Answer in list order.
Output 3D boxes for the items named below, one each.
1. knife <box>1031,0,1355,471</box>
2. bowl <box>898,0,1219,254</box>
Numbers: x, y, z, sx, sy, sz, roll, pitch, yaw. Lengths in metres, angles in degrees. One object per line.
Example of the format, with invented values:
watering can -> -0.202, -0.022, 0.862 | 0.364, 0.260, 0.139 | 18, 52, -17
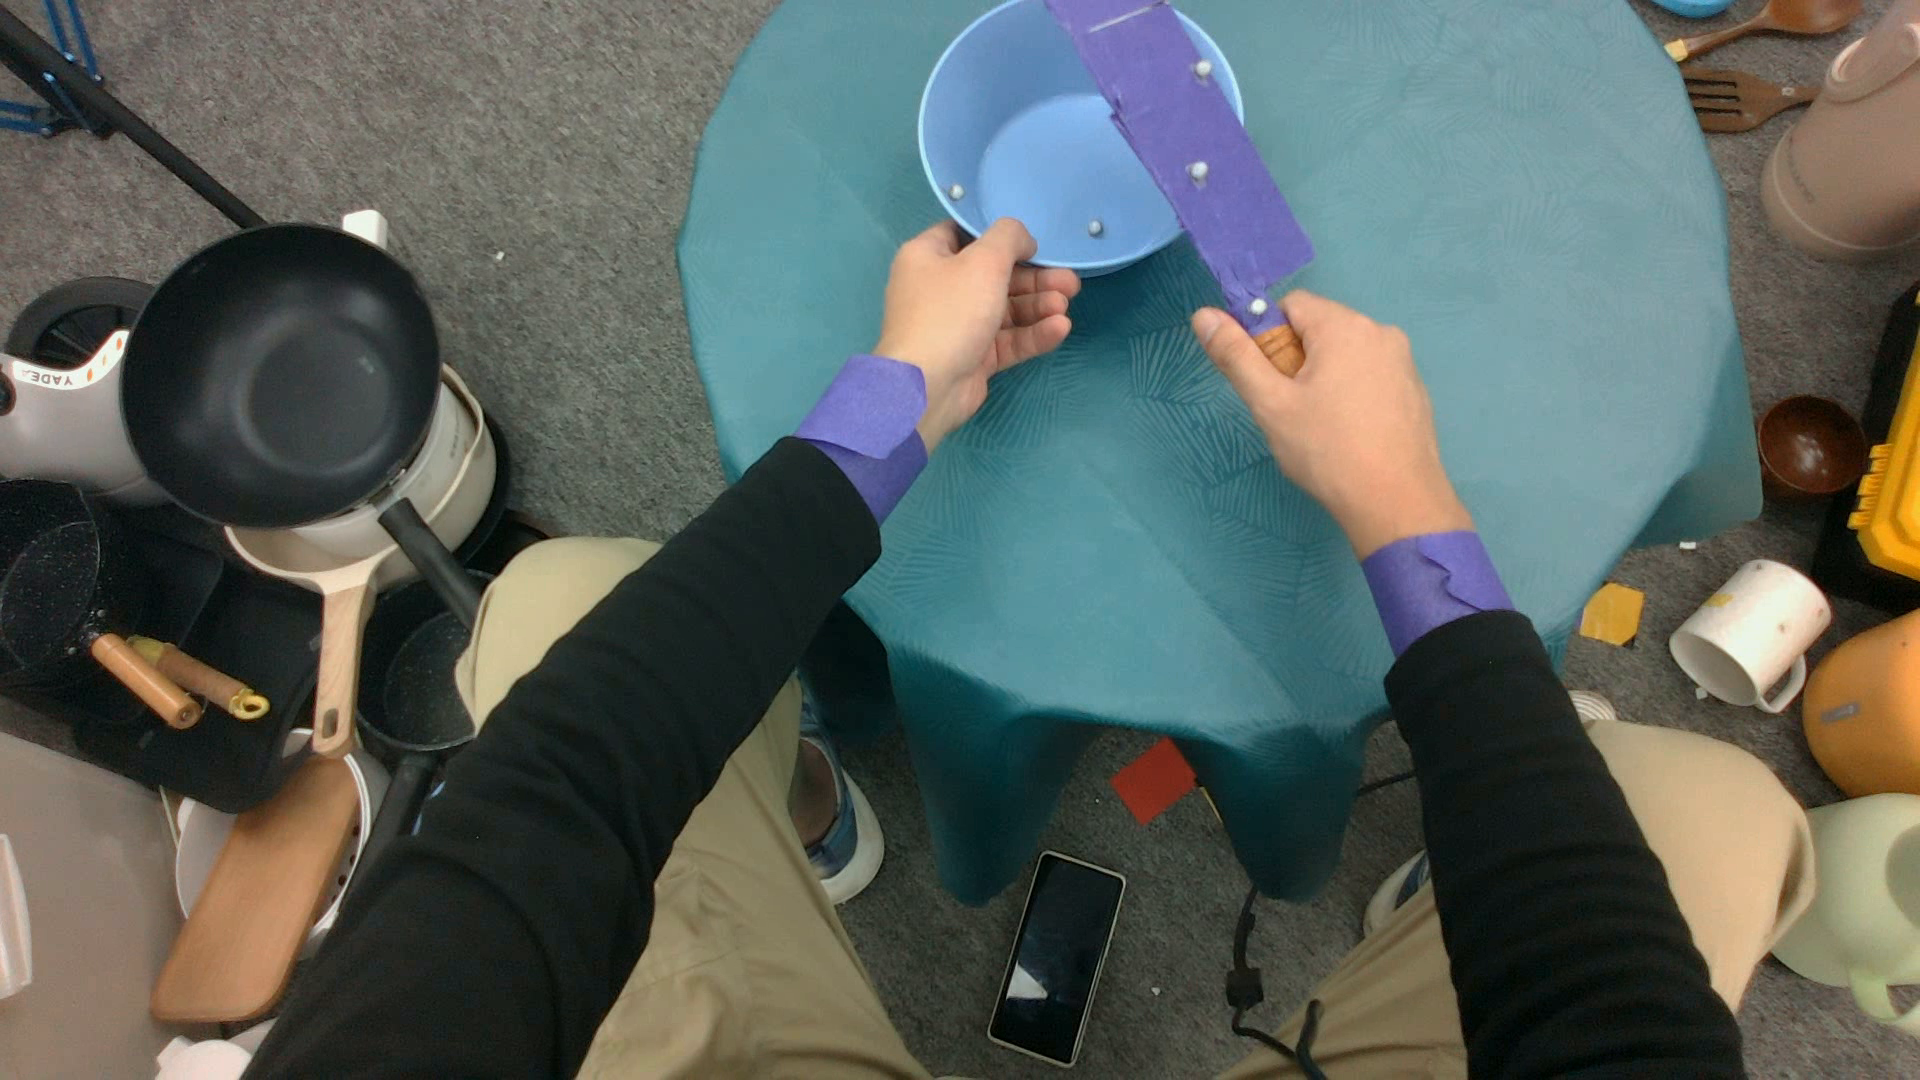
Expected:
knife -> 0.124, -0.187, 0.700 | 0.104, 0.032, 0.315 | -37, 98, -40
bowl -> 0.056, -0.230, 0.781 | 0.176, 0.070, 0.176 | -1, 73, 5
